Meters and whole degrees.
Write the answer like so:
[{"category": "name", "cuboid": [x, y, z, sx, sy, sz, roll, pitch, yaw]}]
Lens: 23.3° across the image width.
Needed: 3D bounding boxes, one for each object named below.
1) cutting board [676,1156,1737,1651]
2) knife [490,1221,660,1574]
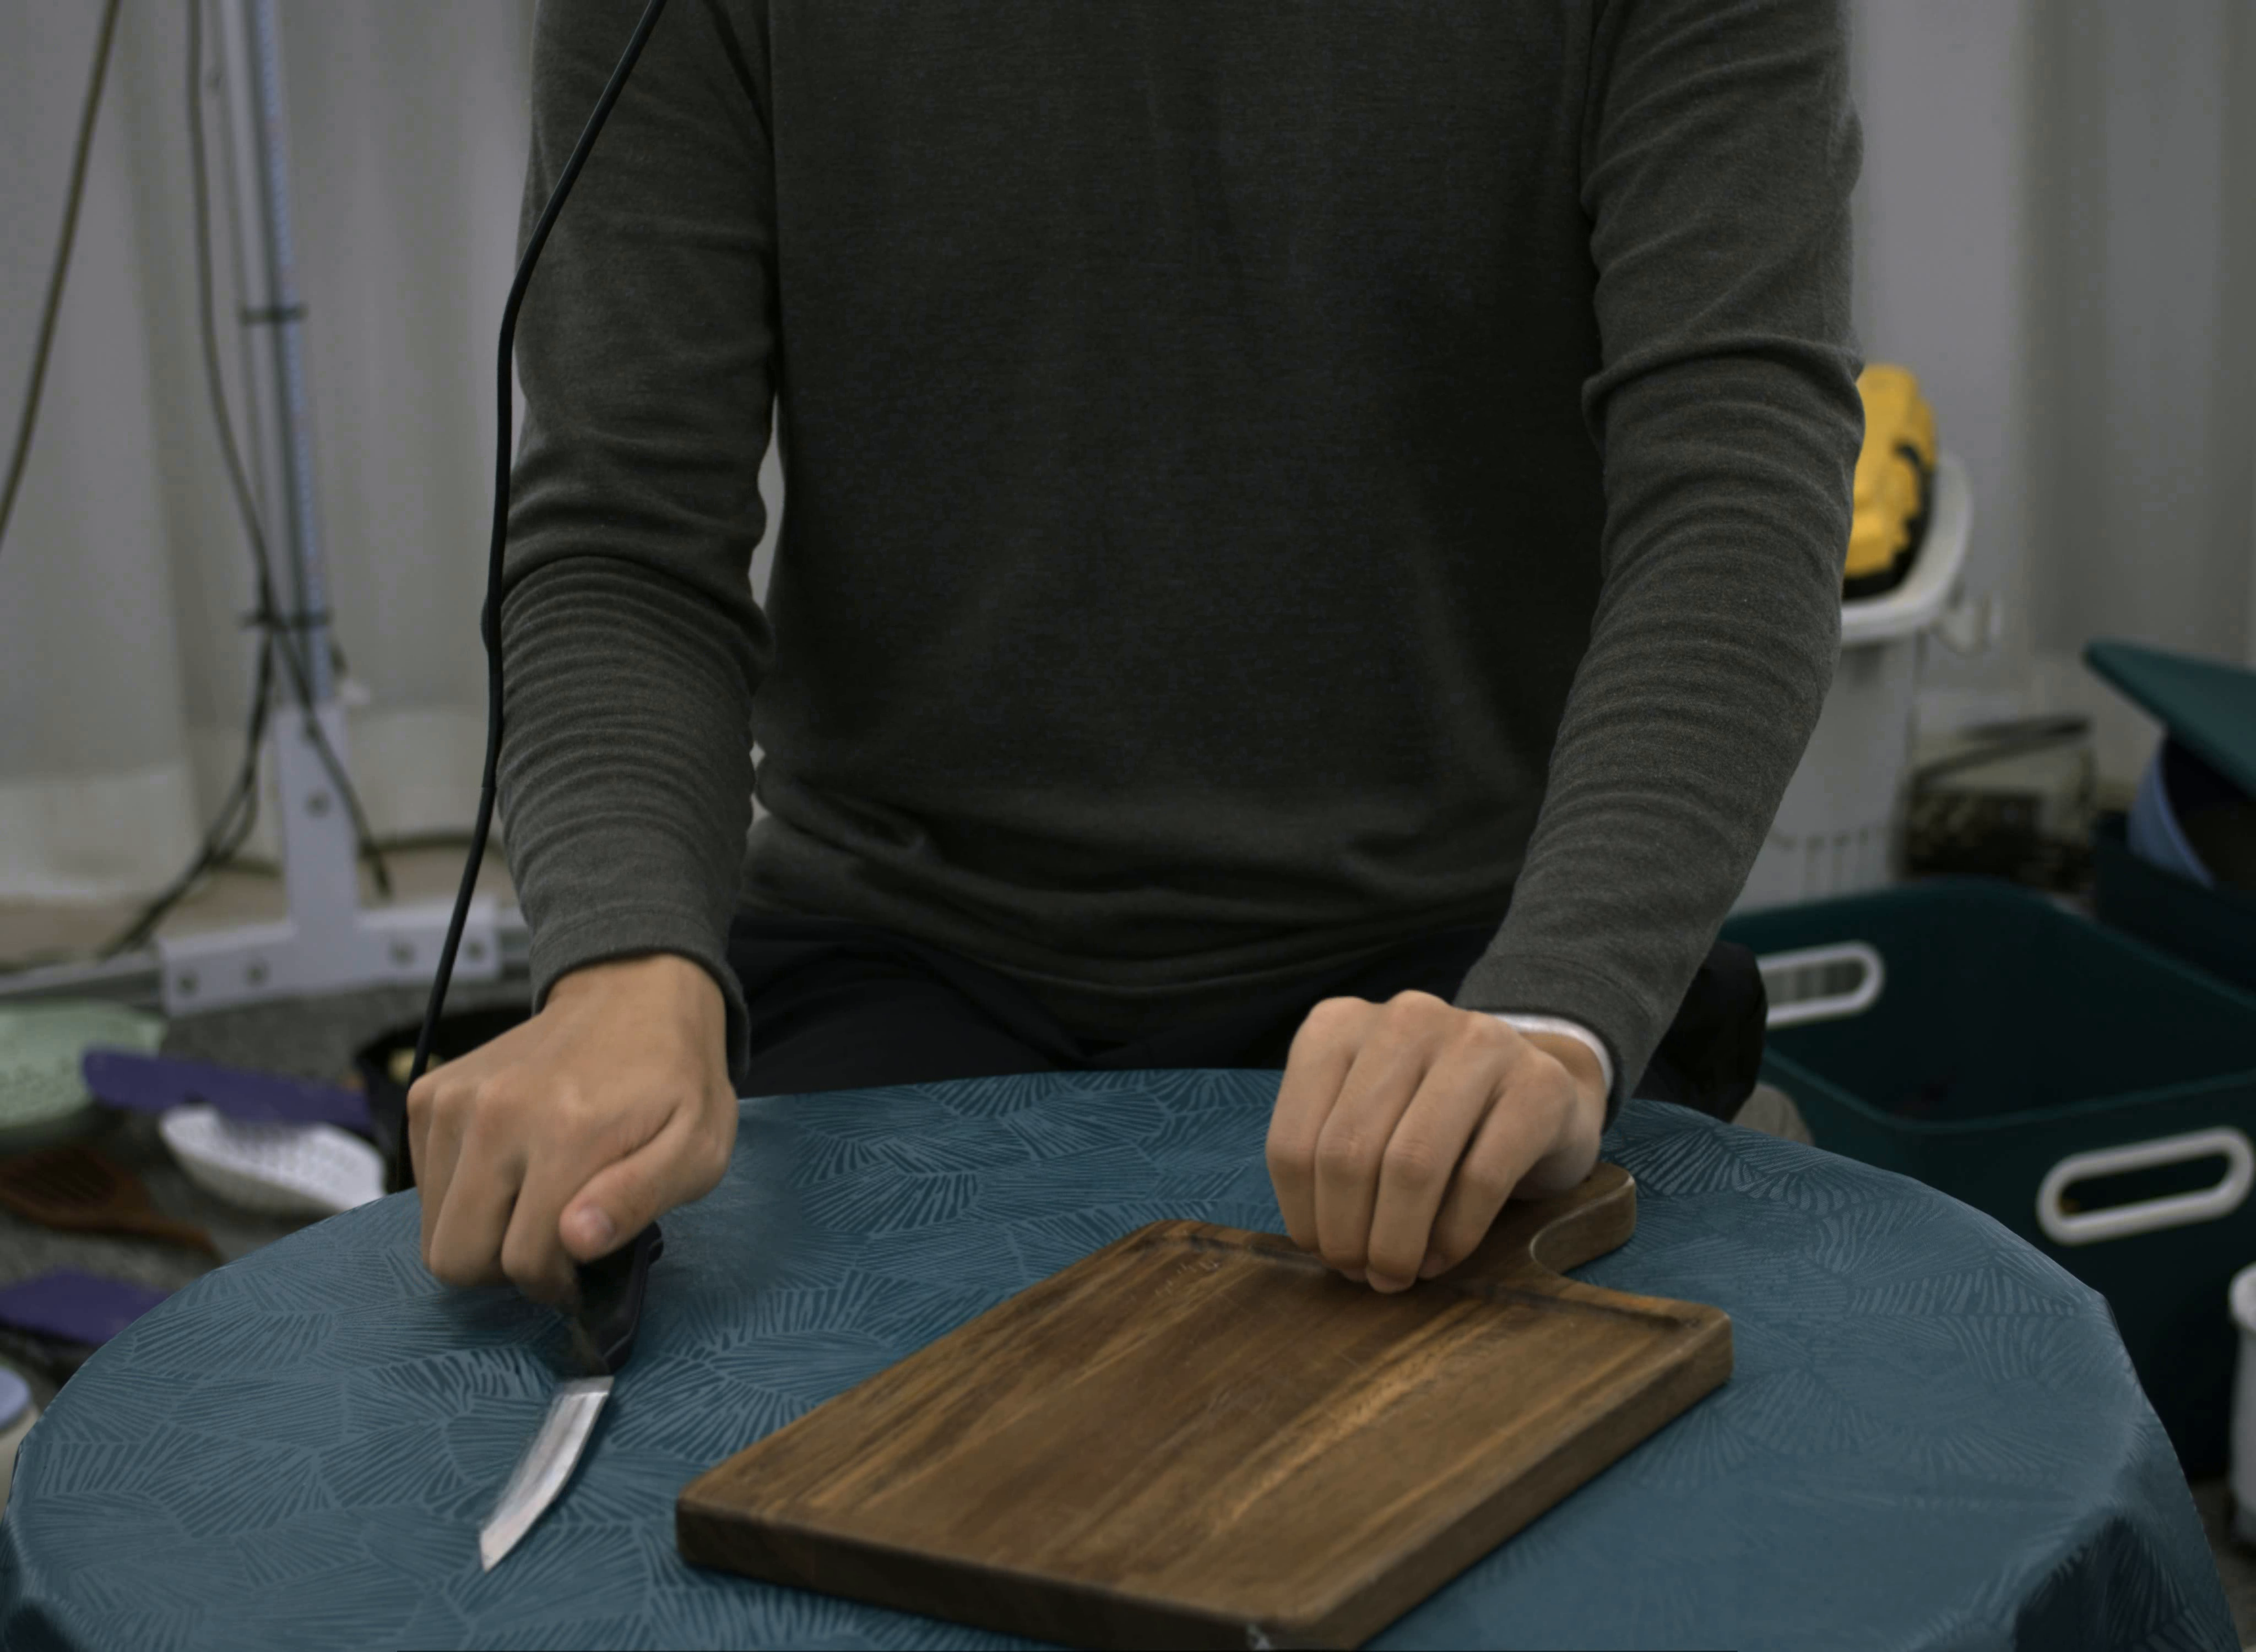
[{"category": "cutting board", "cuboid": [0.052, 0.153, 1.525, 0.201, 0.023, 0.352, 7, 17, 31]}, {"category": "knife", "cuboid": [-0.159, 0.161, 1.550, 0.024, 0.016, 0.240, -2, 17, 4]}]
